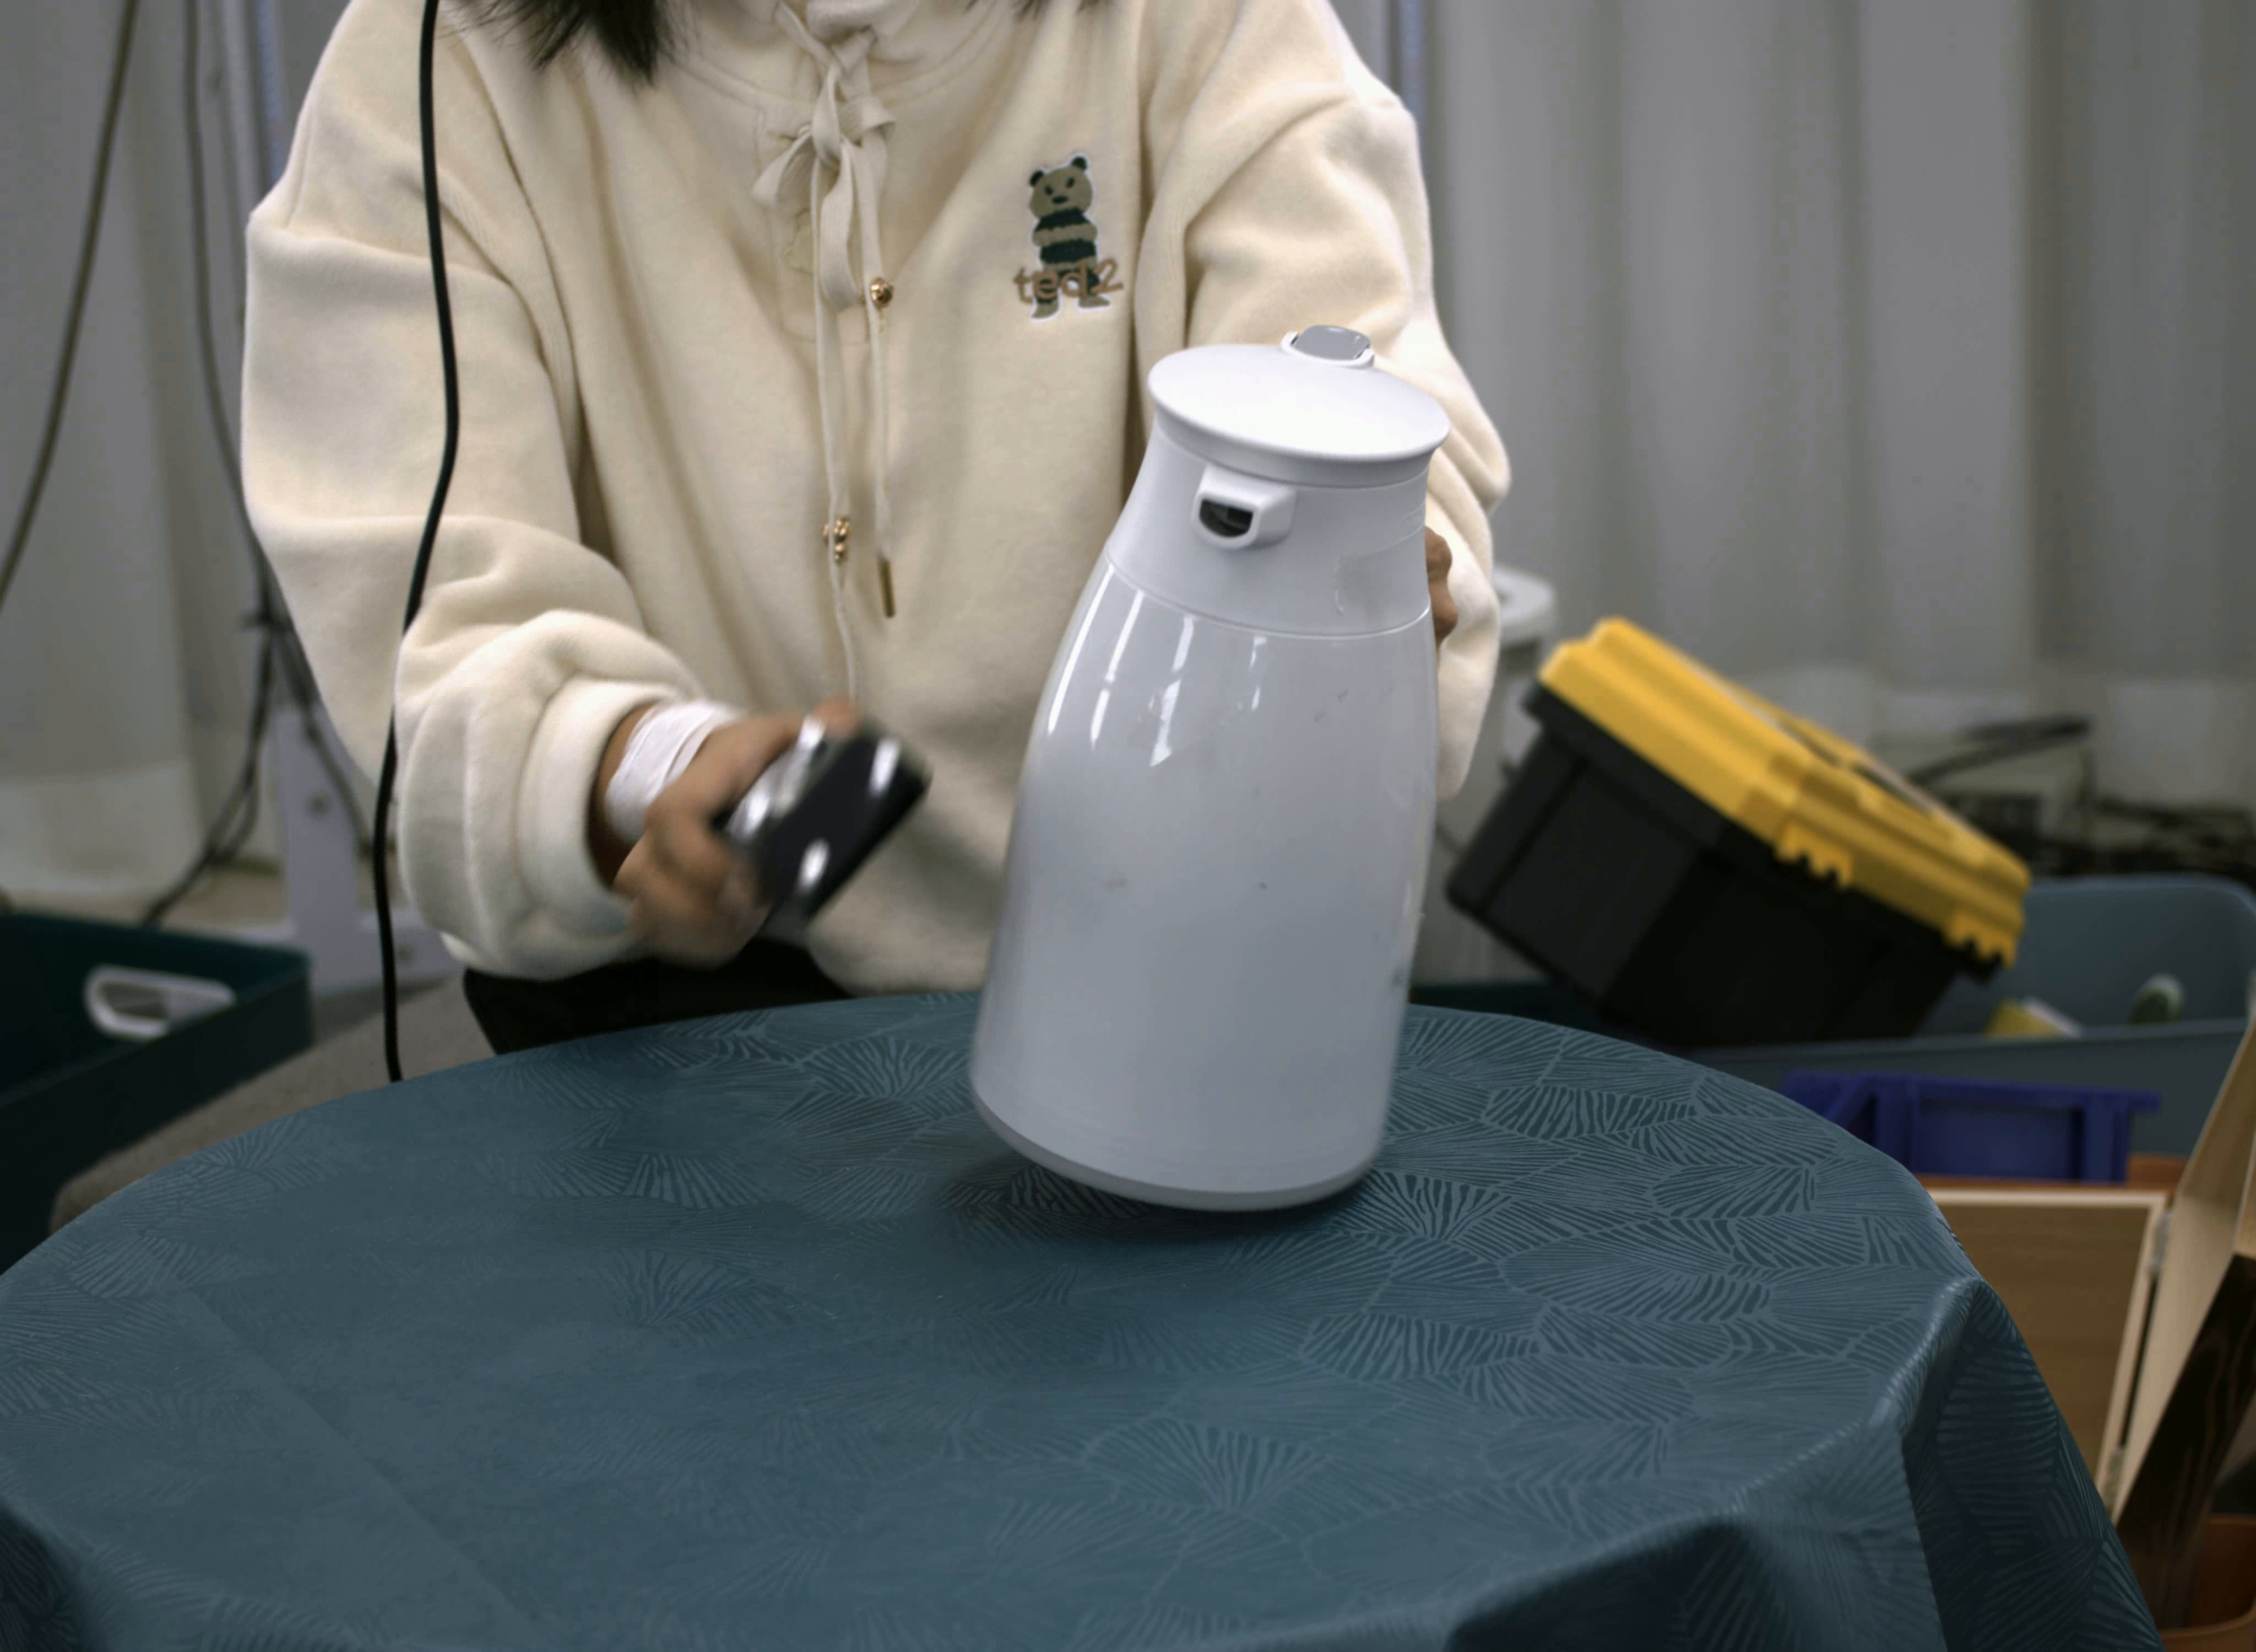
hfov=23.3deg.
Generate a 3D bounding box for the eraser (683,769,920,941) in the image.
[{"bbox_3d":[-0.101,0.009,1.684,0.053,0.030,0.125,-45,10,-11],"label":"eraser"}]

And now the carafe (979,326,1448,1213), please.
[{"bbox_3d":[0.039,-0.028,1.687,0.132,0.247,0.168,13,22,13],"label":"carafe"}]
